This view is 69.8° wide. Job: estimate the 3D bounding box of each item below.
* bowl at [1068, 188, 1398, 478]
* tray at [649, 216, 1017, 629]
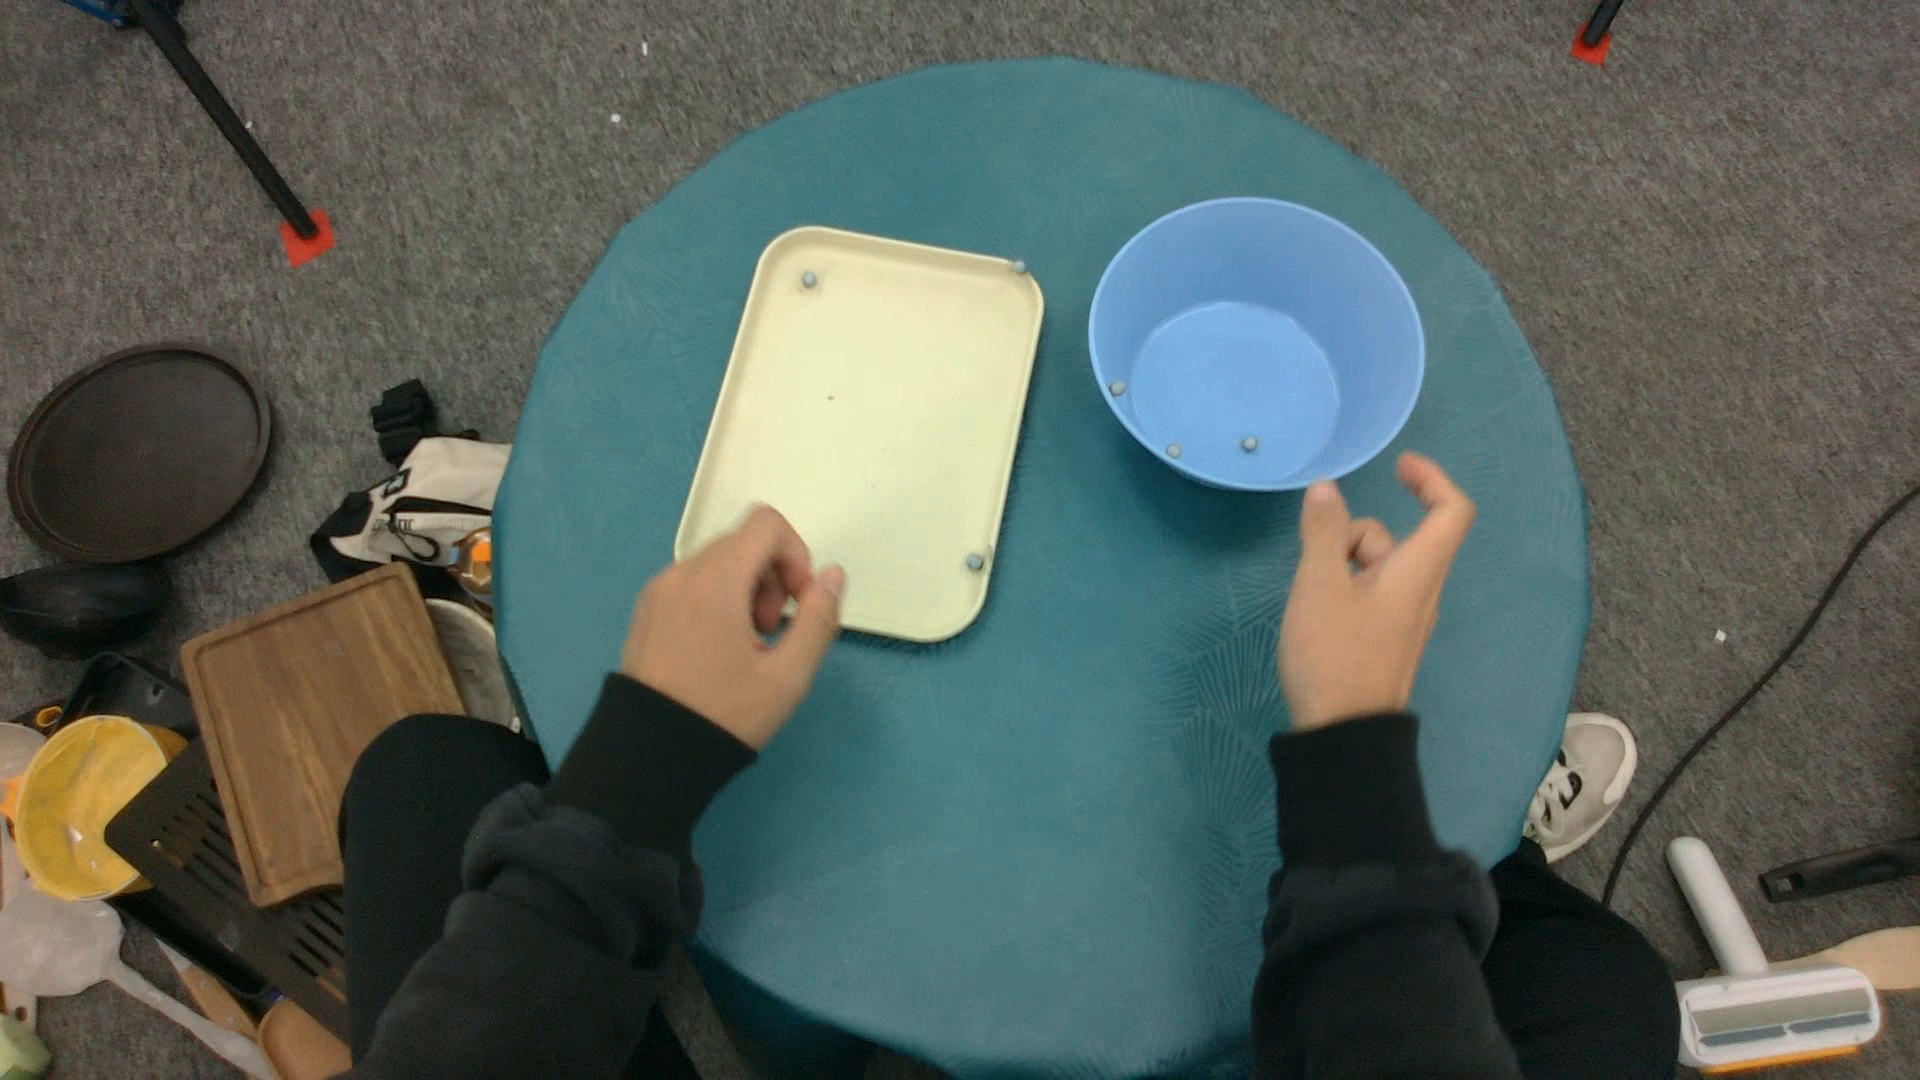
[{"bbox_3d":[0.145,-0.102,0.759,0.176,0.070,0.176,0,68,0],"label":"bowl"},{"bbox_3d":[-0.066,-0.070,0.769,0.171,0.017,0.240,10,68,3],"label":"tray"}]
